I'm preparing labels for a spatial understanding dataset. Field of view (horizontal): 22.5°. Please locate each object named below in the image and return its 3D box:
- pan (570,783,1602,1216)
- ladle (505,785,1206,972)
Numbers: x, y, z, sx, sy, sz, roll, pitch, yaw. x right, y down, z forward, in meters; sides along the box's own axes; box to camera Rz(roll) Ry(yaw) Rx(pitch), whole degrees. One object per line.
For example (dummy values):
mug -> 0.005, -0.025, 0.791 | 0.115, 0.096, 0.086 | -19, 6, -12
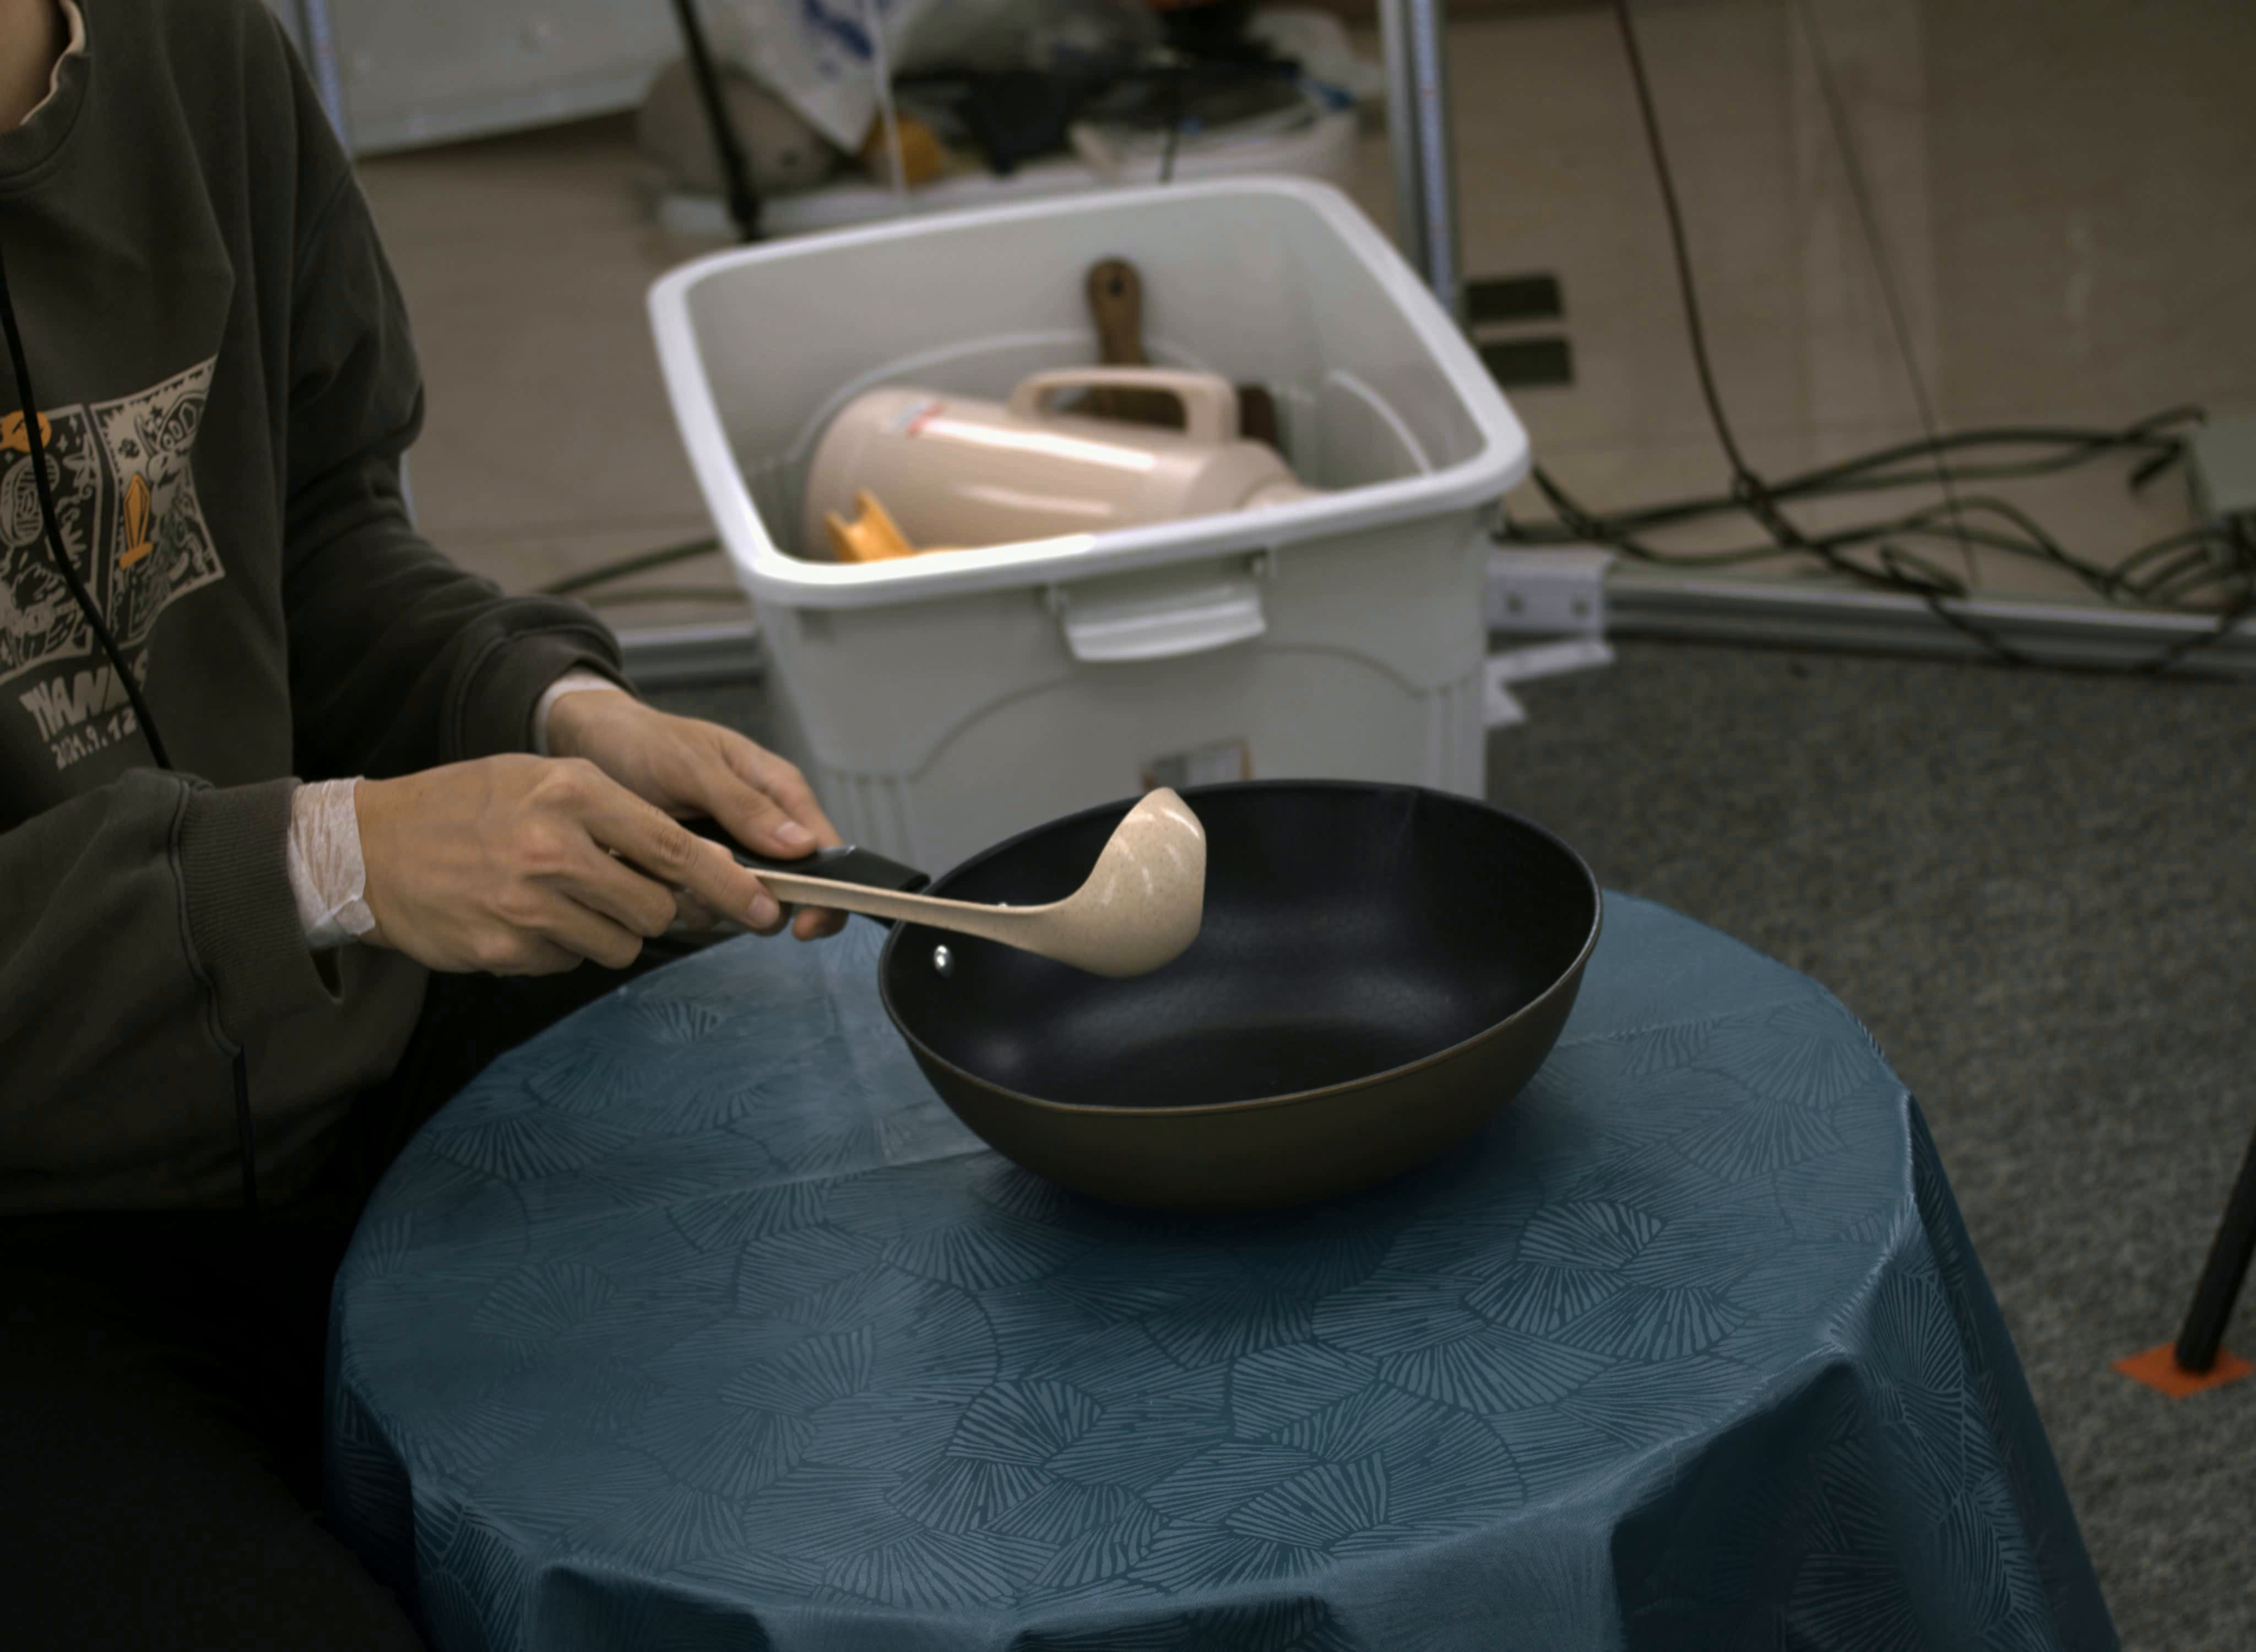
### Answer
pan -> -0.032, 0.064, 2.216 | 0.461, 0.088, 0.285 | 9, 29, 32
ladle -> -0.098, 0.002, 2.082 | 0.254, 0.073, 0.071 | 10, 53, -4
